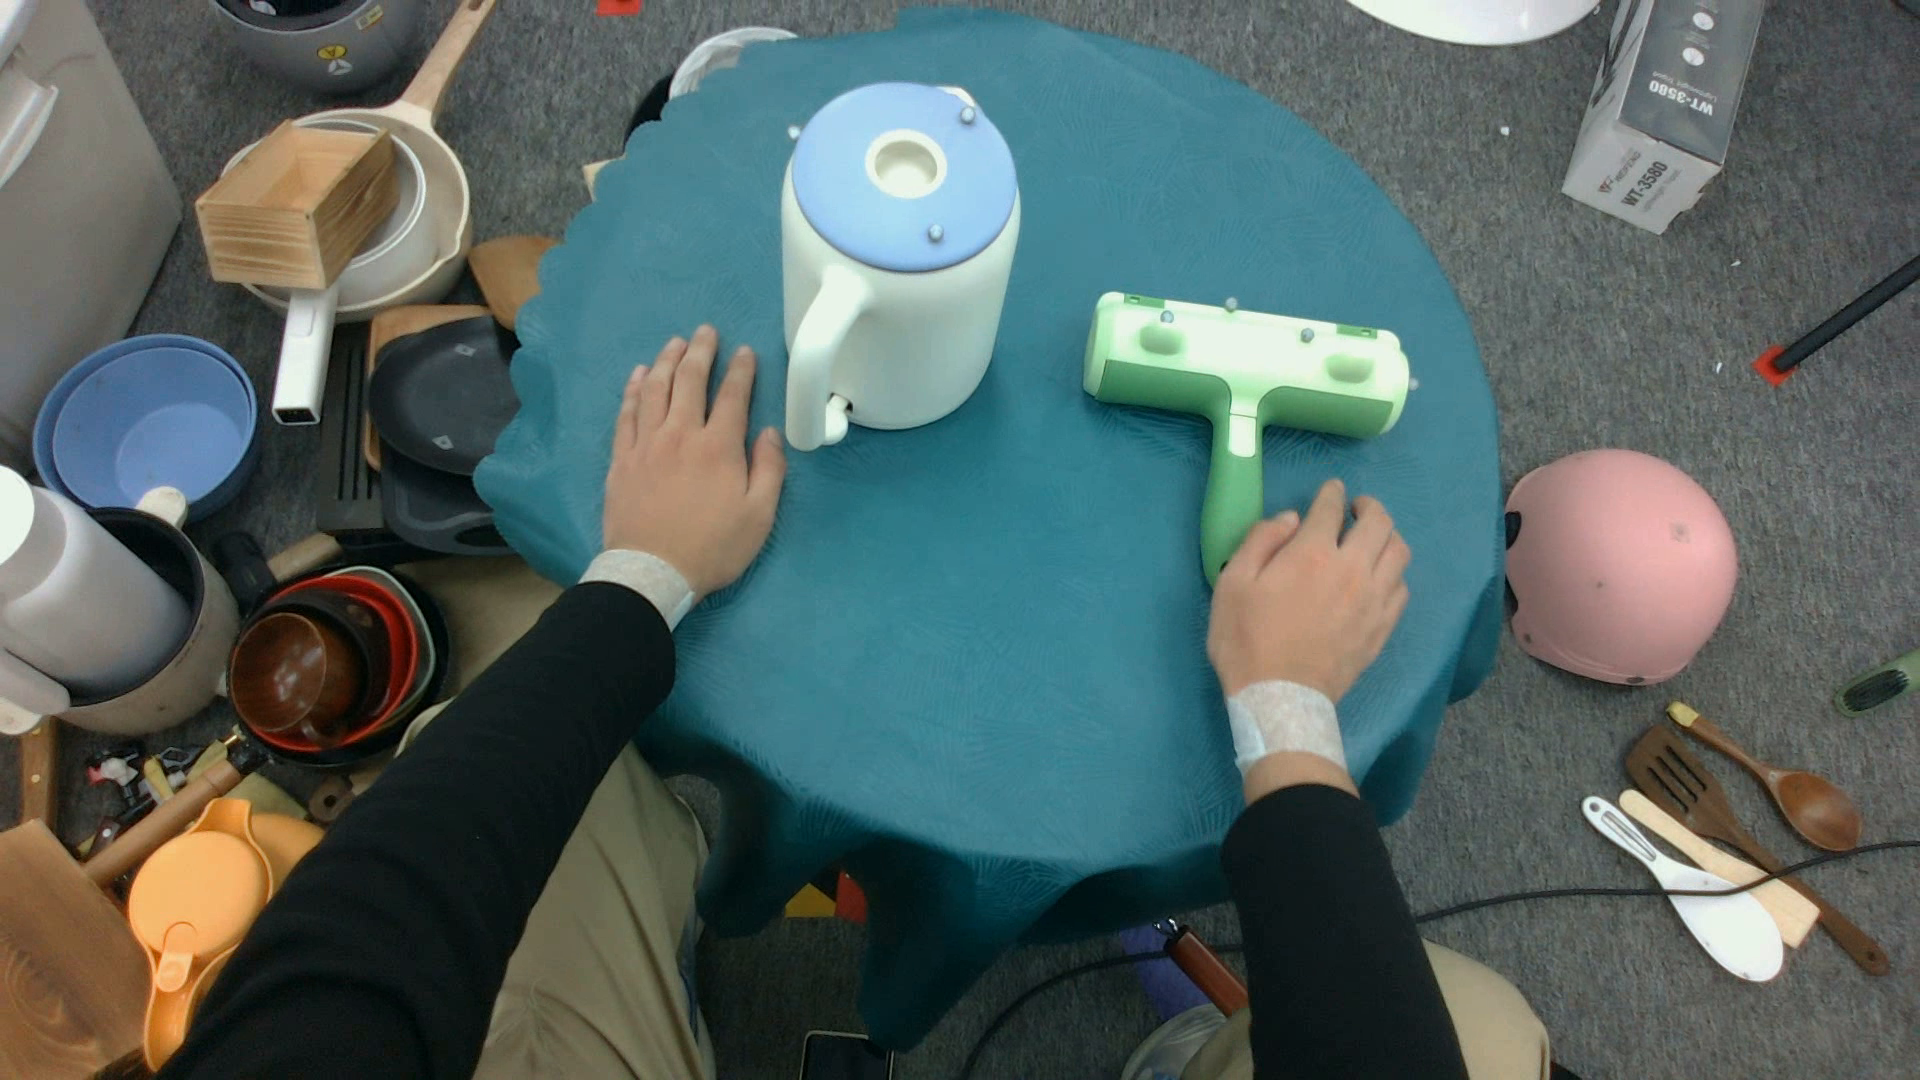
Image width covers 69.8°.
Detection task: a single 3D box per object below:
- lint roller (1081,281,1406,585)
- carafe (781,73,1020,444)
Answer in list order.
[{"bbox_3d":[0.171,-0.068,0.831,0.198,0.082,0.184,8,63,-2],"label":"lint roller"},{"bbox_3d":[-0.048,-0.145,0.787,0.132,0.182,0.192,24,68,5],"label":"carafe"}]
